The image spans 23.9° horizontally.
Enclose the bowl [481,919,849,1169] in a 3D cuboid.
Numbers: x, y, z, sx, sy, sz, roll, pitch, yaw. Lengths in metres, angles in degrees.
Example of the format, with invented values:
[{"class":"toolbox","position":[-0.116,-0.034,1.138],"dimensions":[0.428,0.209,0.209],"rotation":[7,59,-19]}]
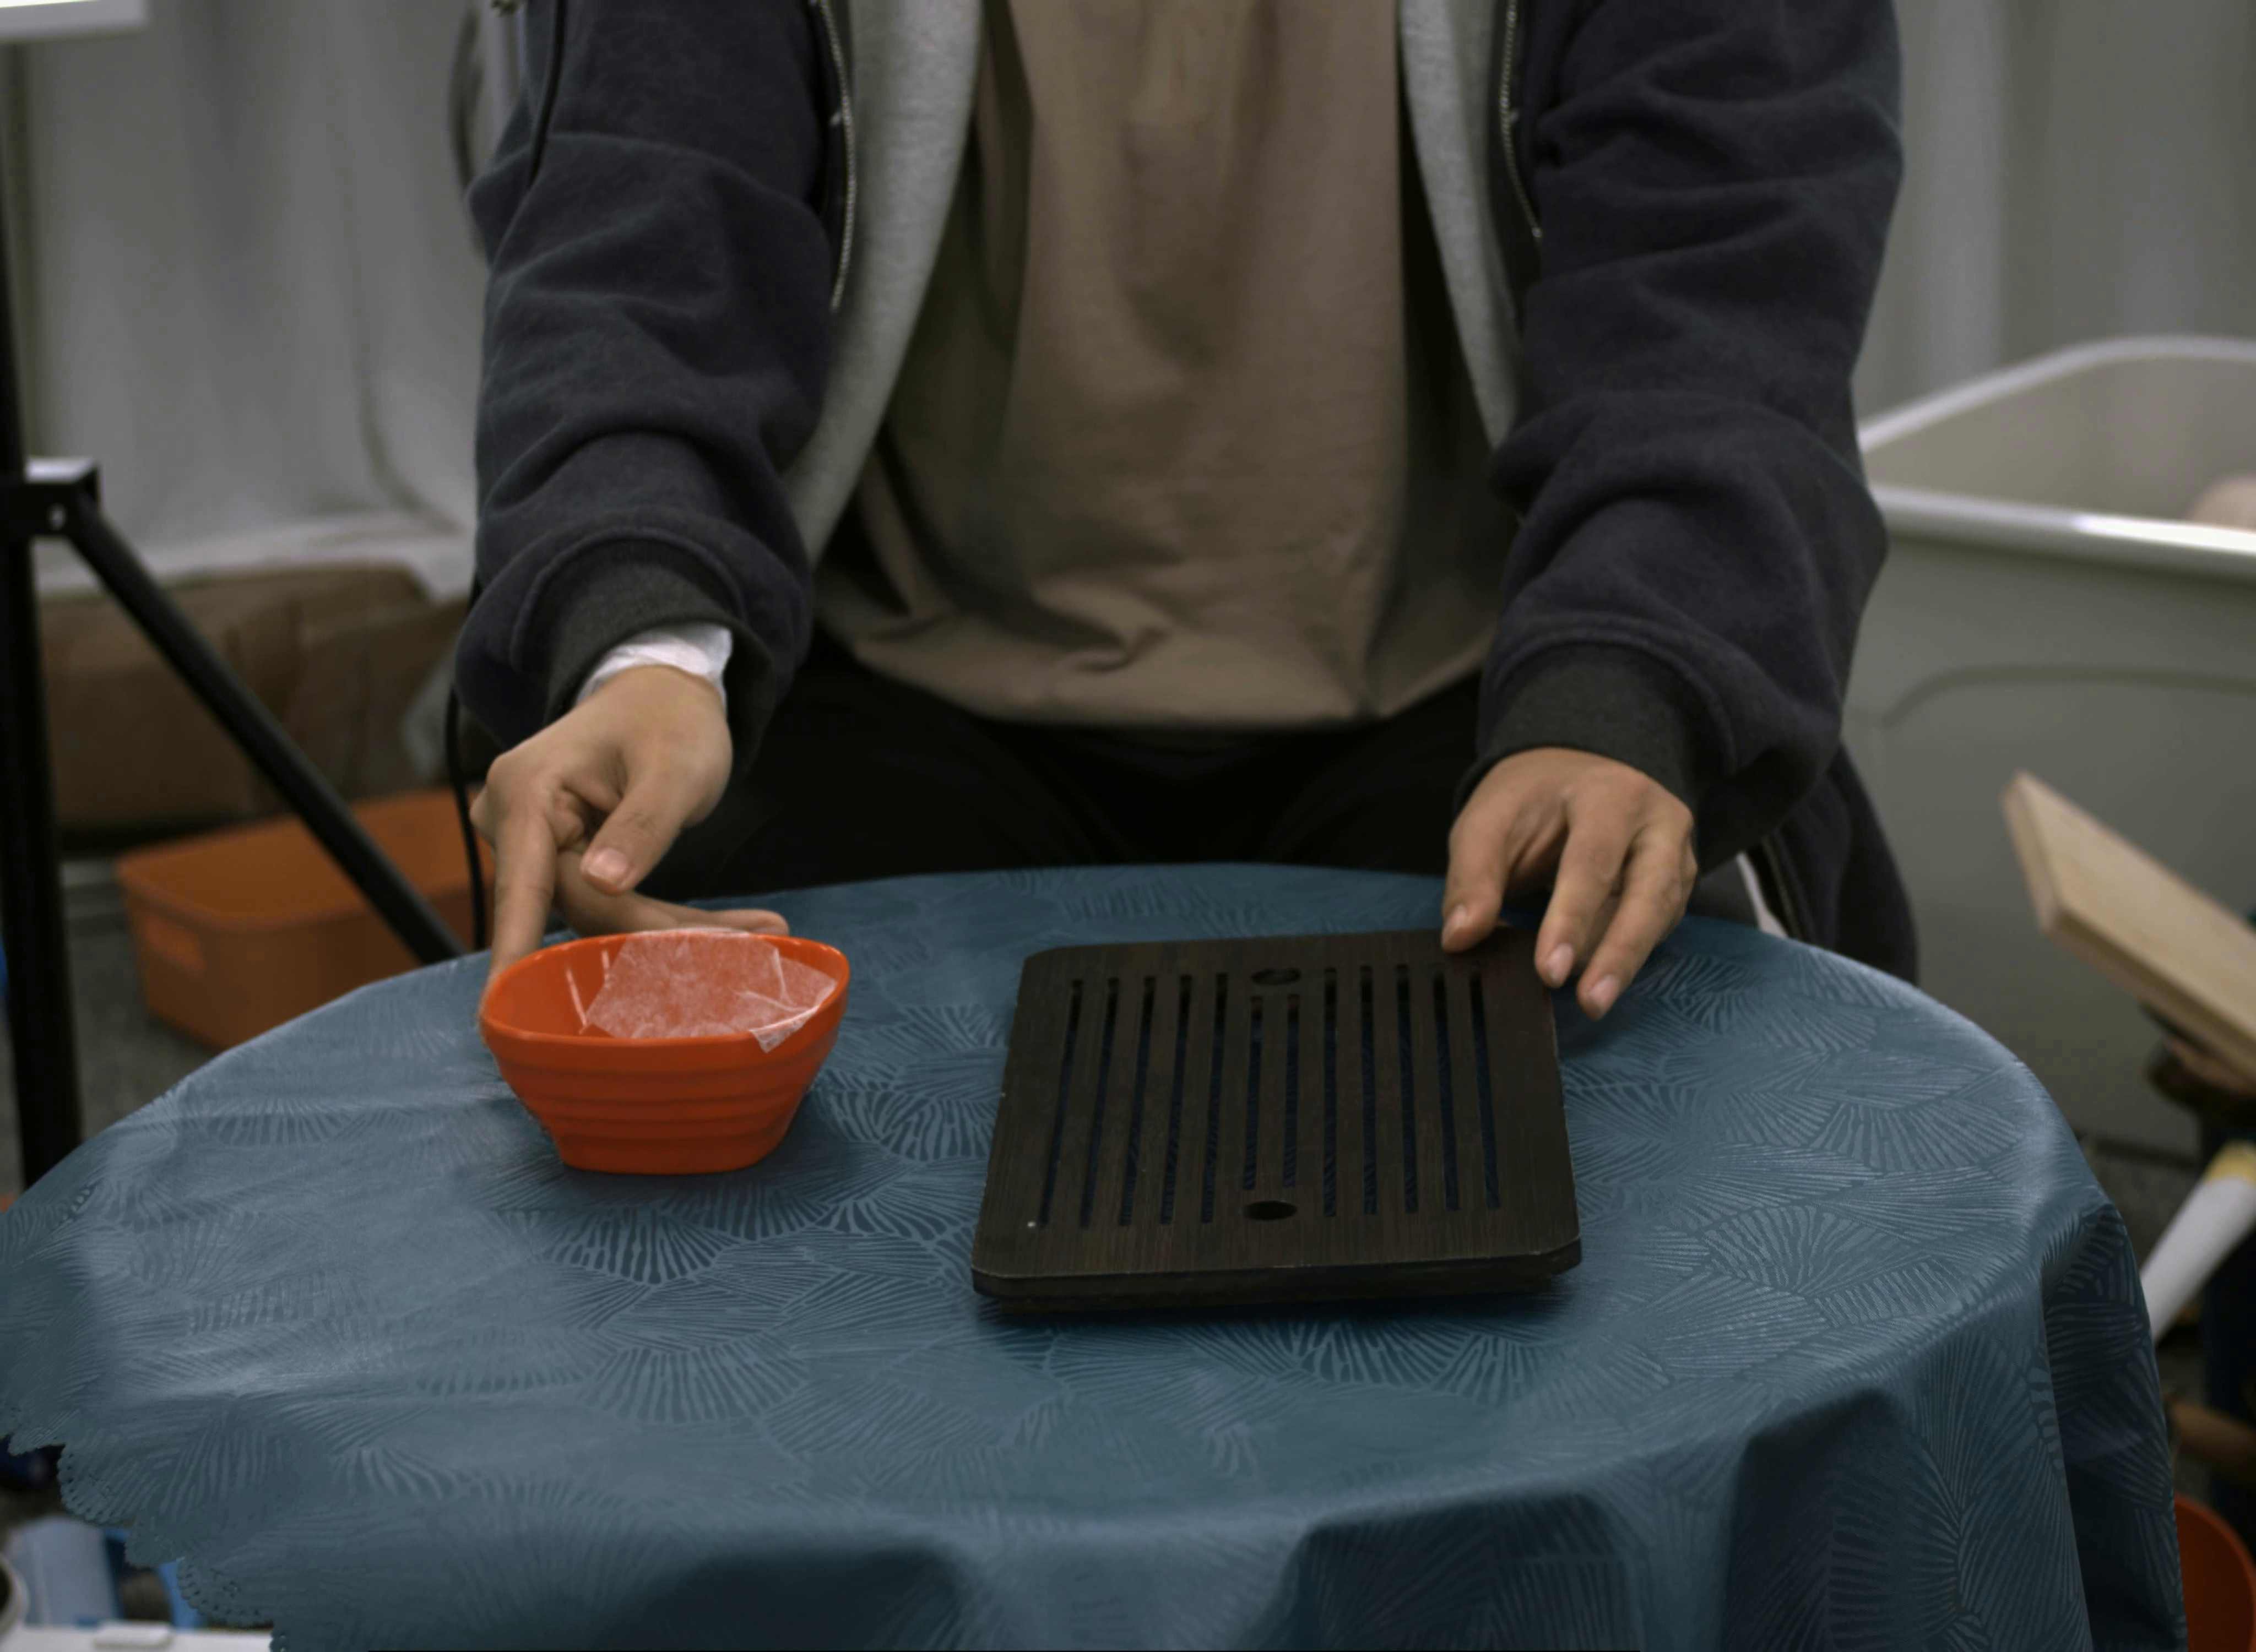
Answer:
[{"class":"bowl","position":[-0.138,0.069,1.620],"dimensions":[0.118,0.051,0.119],"rotation":[-4,17,0]}]

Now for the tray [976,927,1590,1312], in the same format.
[{"class":"tray","position":[0.047,0.086,1.591],"dimensions":[0.170,0.018,0.306],"rotation":[-3,16,4]}]
